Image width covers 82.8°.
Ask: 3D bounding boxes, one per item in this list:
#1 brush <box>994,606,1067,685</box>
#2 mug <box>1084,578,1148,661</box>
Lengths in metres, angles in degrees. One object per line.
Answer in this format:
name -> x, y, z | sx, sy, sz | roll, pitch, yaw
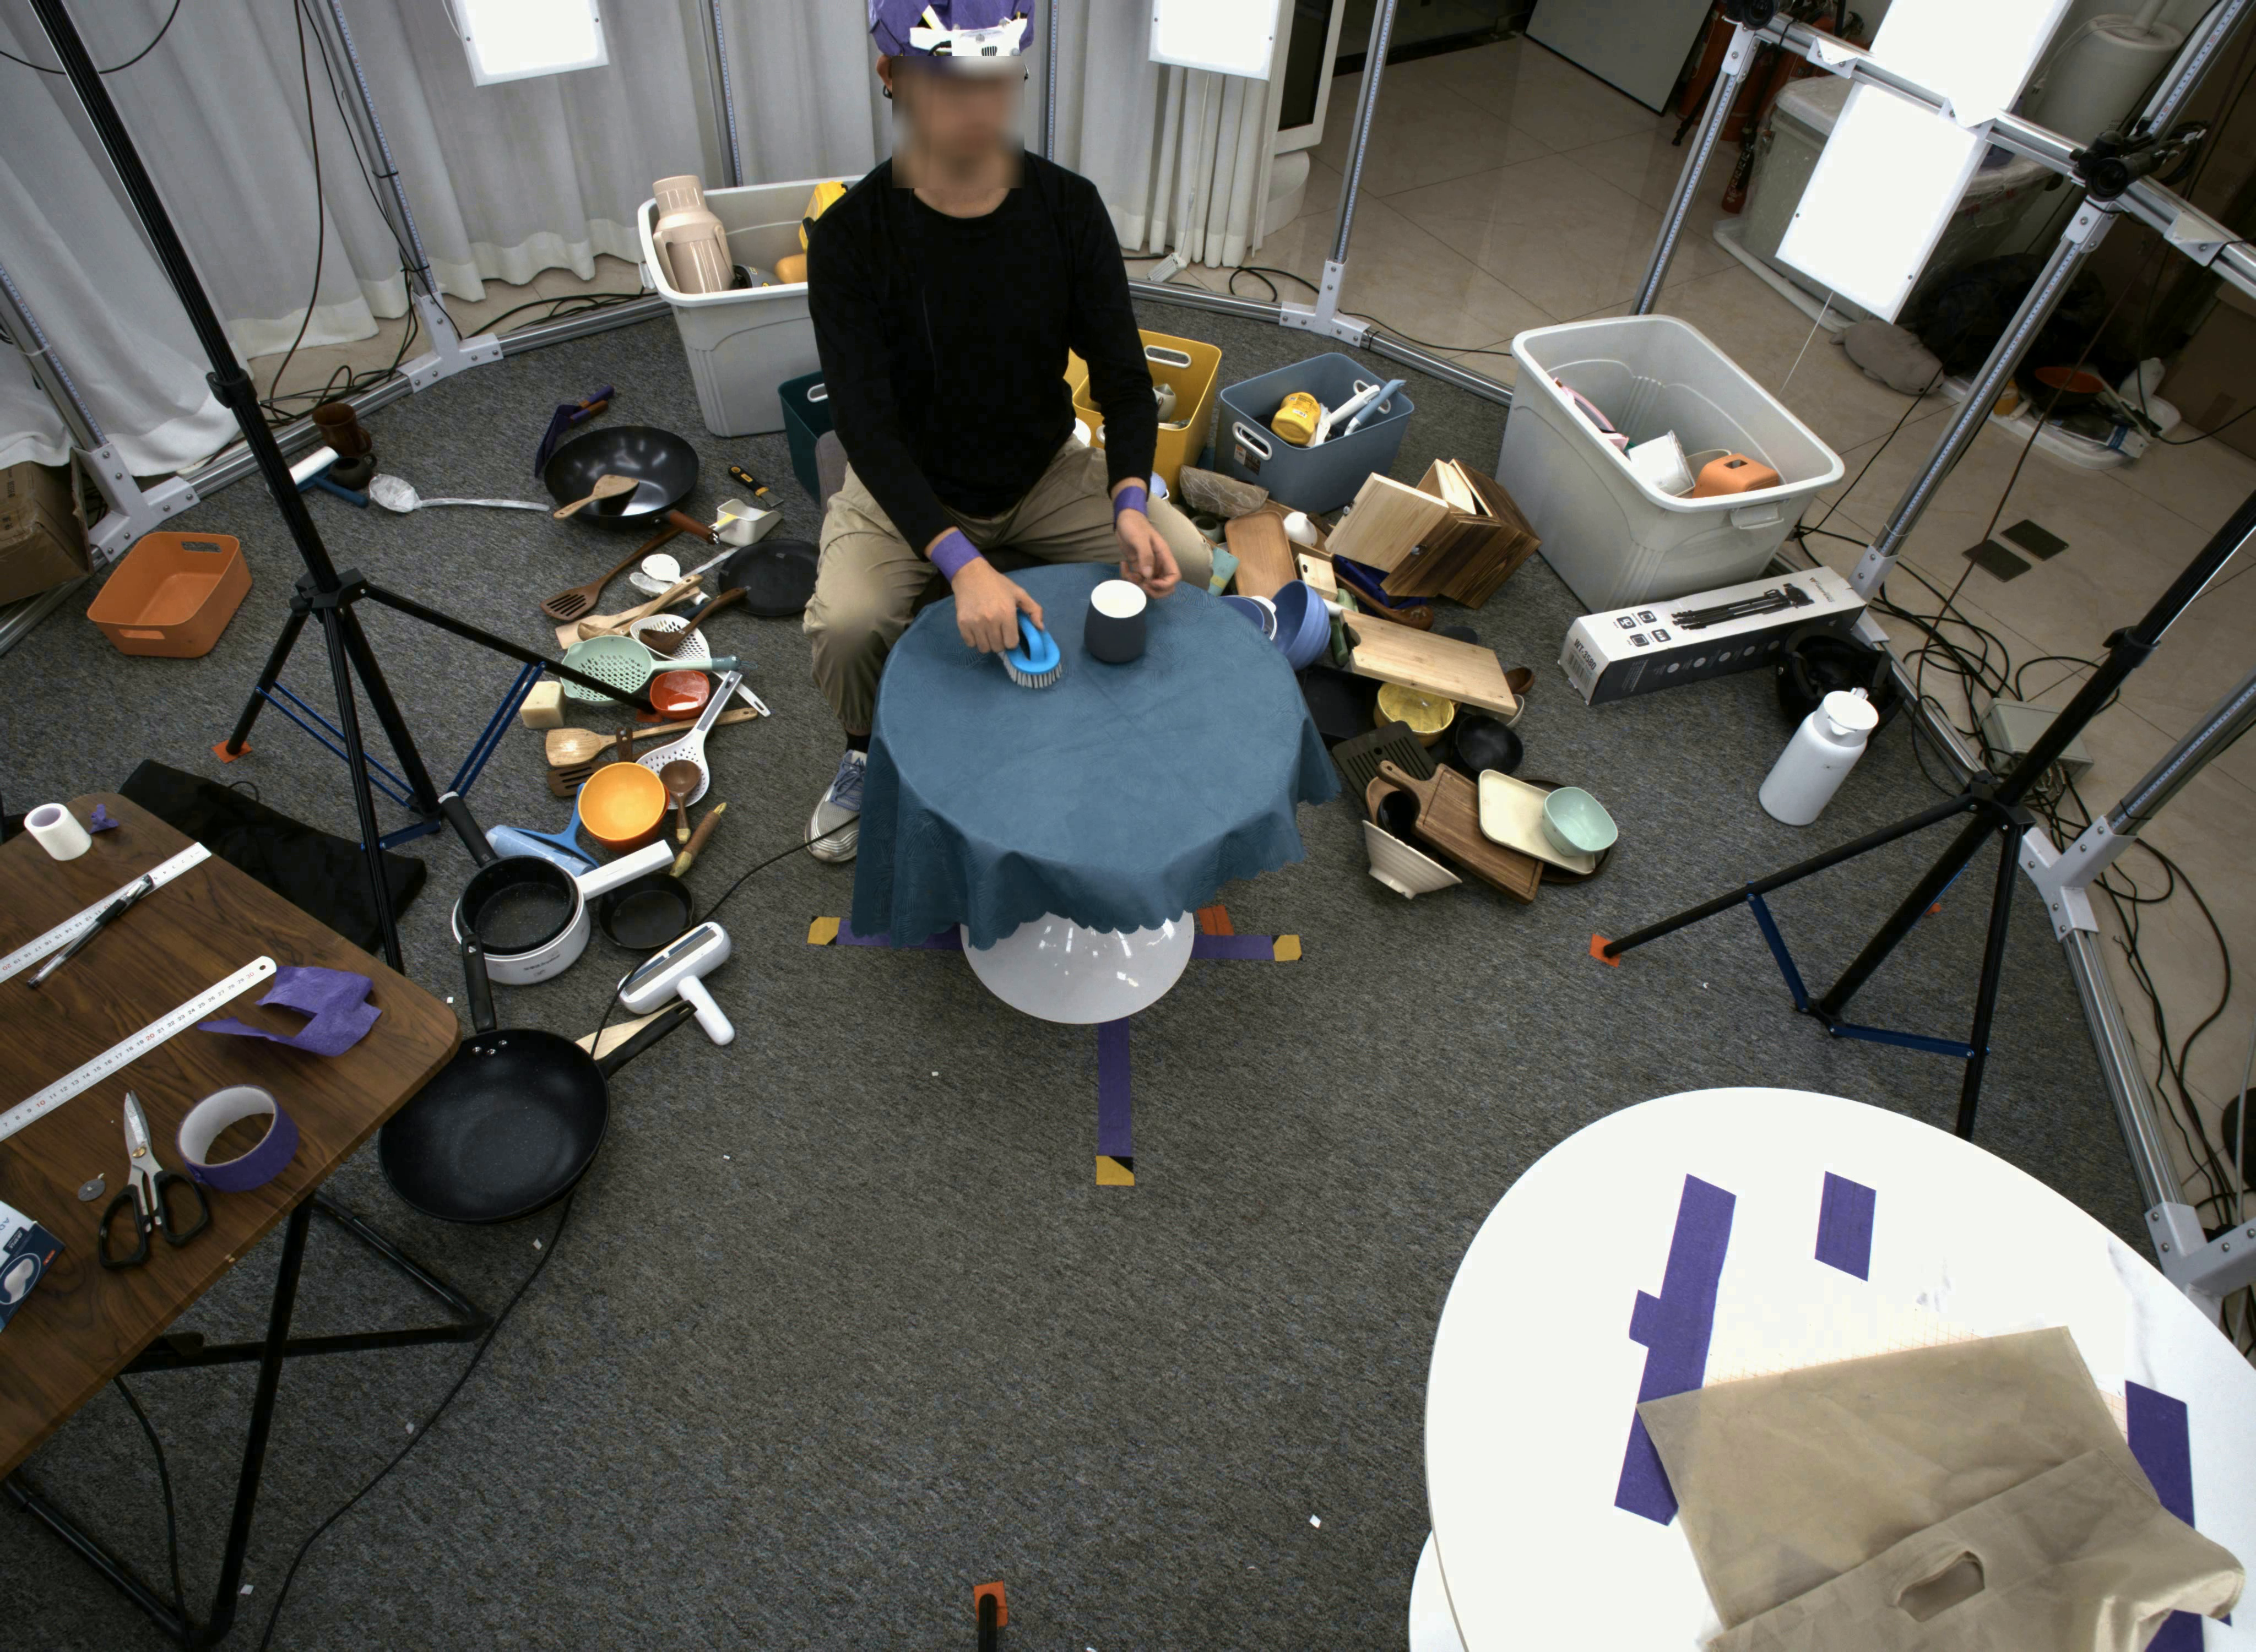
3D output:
brush -> -0.143, -0.271, 1.849 | 0.084, 0.062, 0.145 | -18, 51, -13
mug -> -0.019, -0.309, 1.872 | 0.093, 0.088, 0.126 | -9, 52, -13
